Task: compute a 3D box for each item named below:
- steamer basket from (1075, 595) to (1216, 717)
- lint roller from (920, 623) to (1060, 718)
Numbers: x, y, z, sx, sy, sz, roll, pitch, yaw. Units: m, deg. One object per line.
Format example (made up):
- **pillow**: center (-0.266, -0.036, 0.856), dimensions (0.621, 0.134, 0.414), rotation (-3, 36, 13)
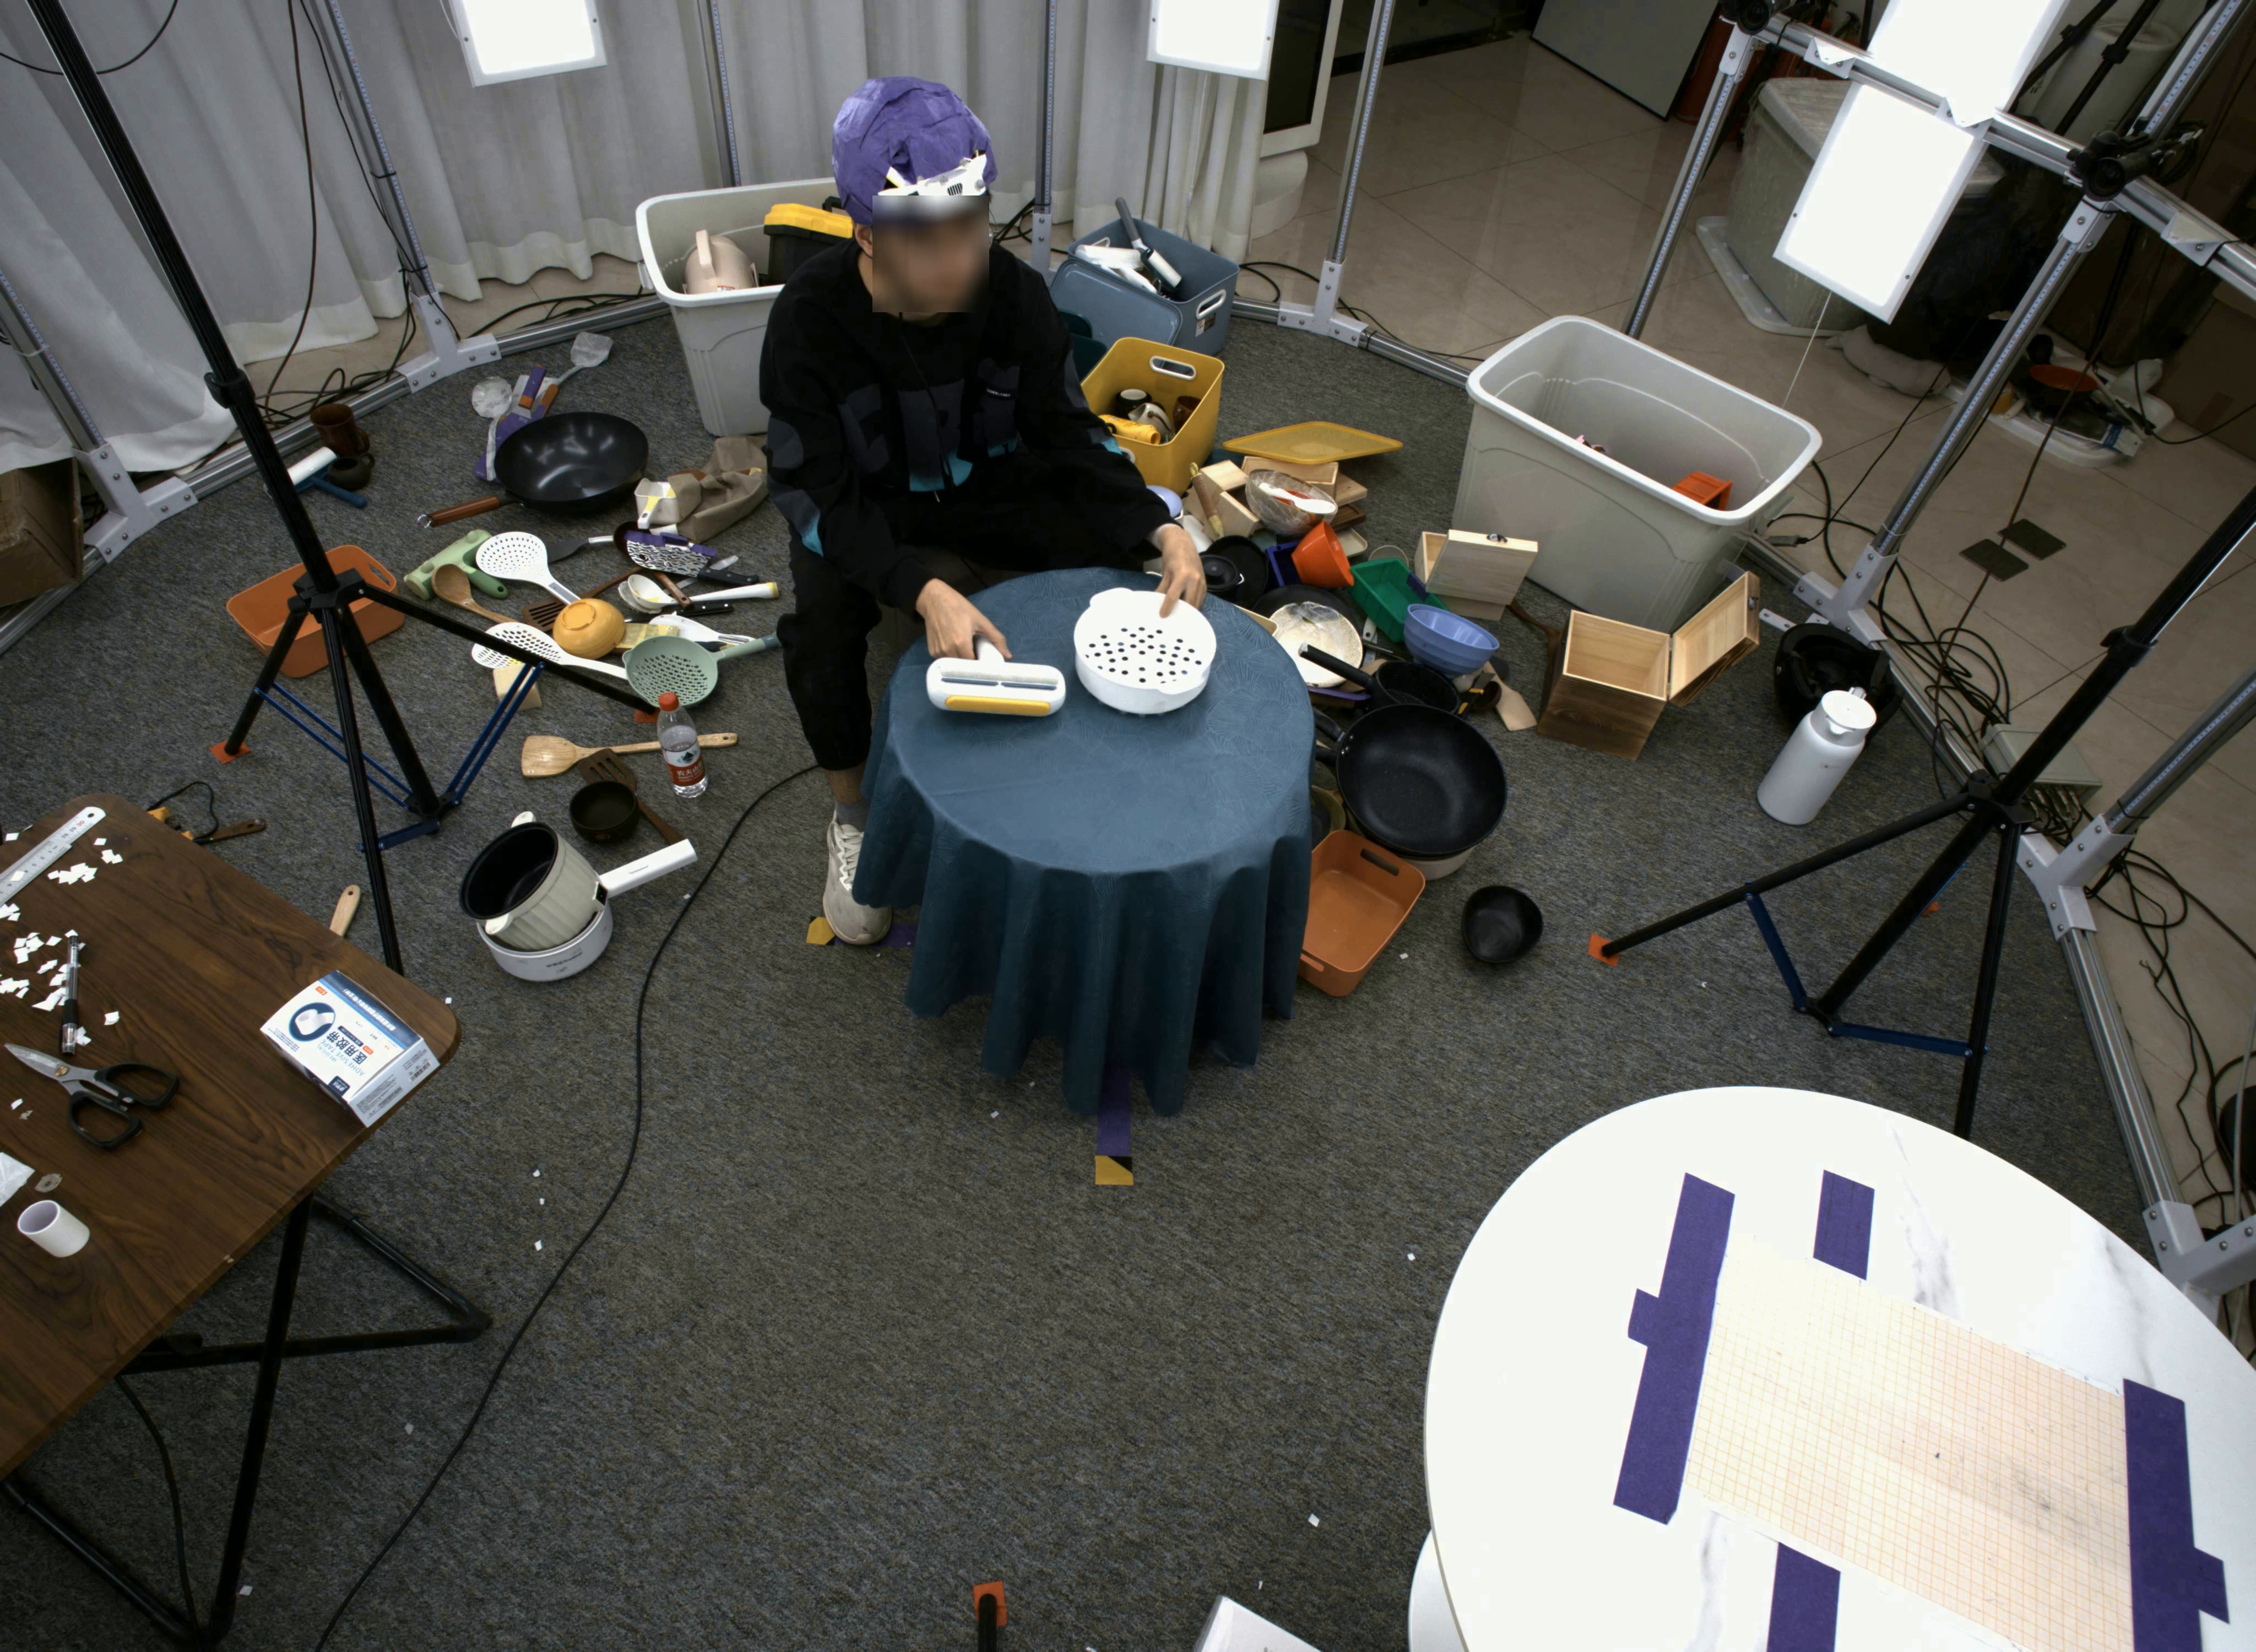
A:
- **steamer basket**: center (0.024, -0.241, 1.838), dimensions (0.202, 0.067, 0.235), rotation (-20, 50, -22)
- **lint roller**: center (-0.196, -0.231, 1.810), dimensions (0.192, 0.072, 0.197), rotation (2, 49, -11)
